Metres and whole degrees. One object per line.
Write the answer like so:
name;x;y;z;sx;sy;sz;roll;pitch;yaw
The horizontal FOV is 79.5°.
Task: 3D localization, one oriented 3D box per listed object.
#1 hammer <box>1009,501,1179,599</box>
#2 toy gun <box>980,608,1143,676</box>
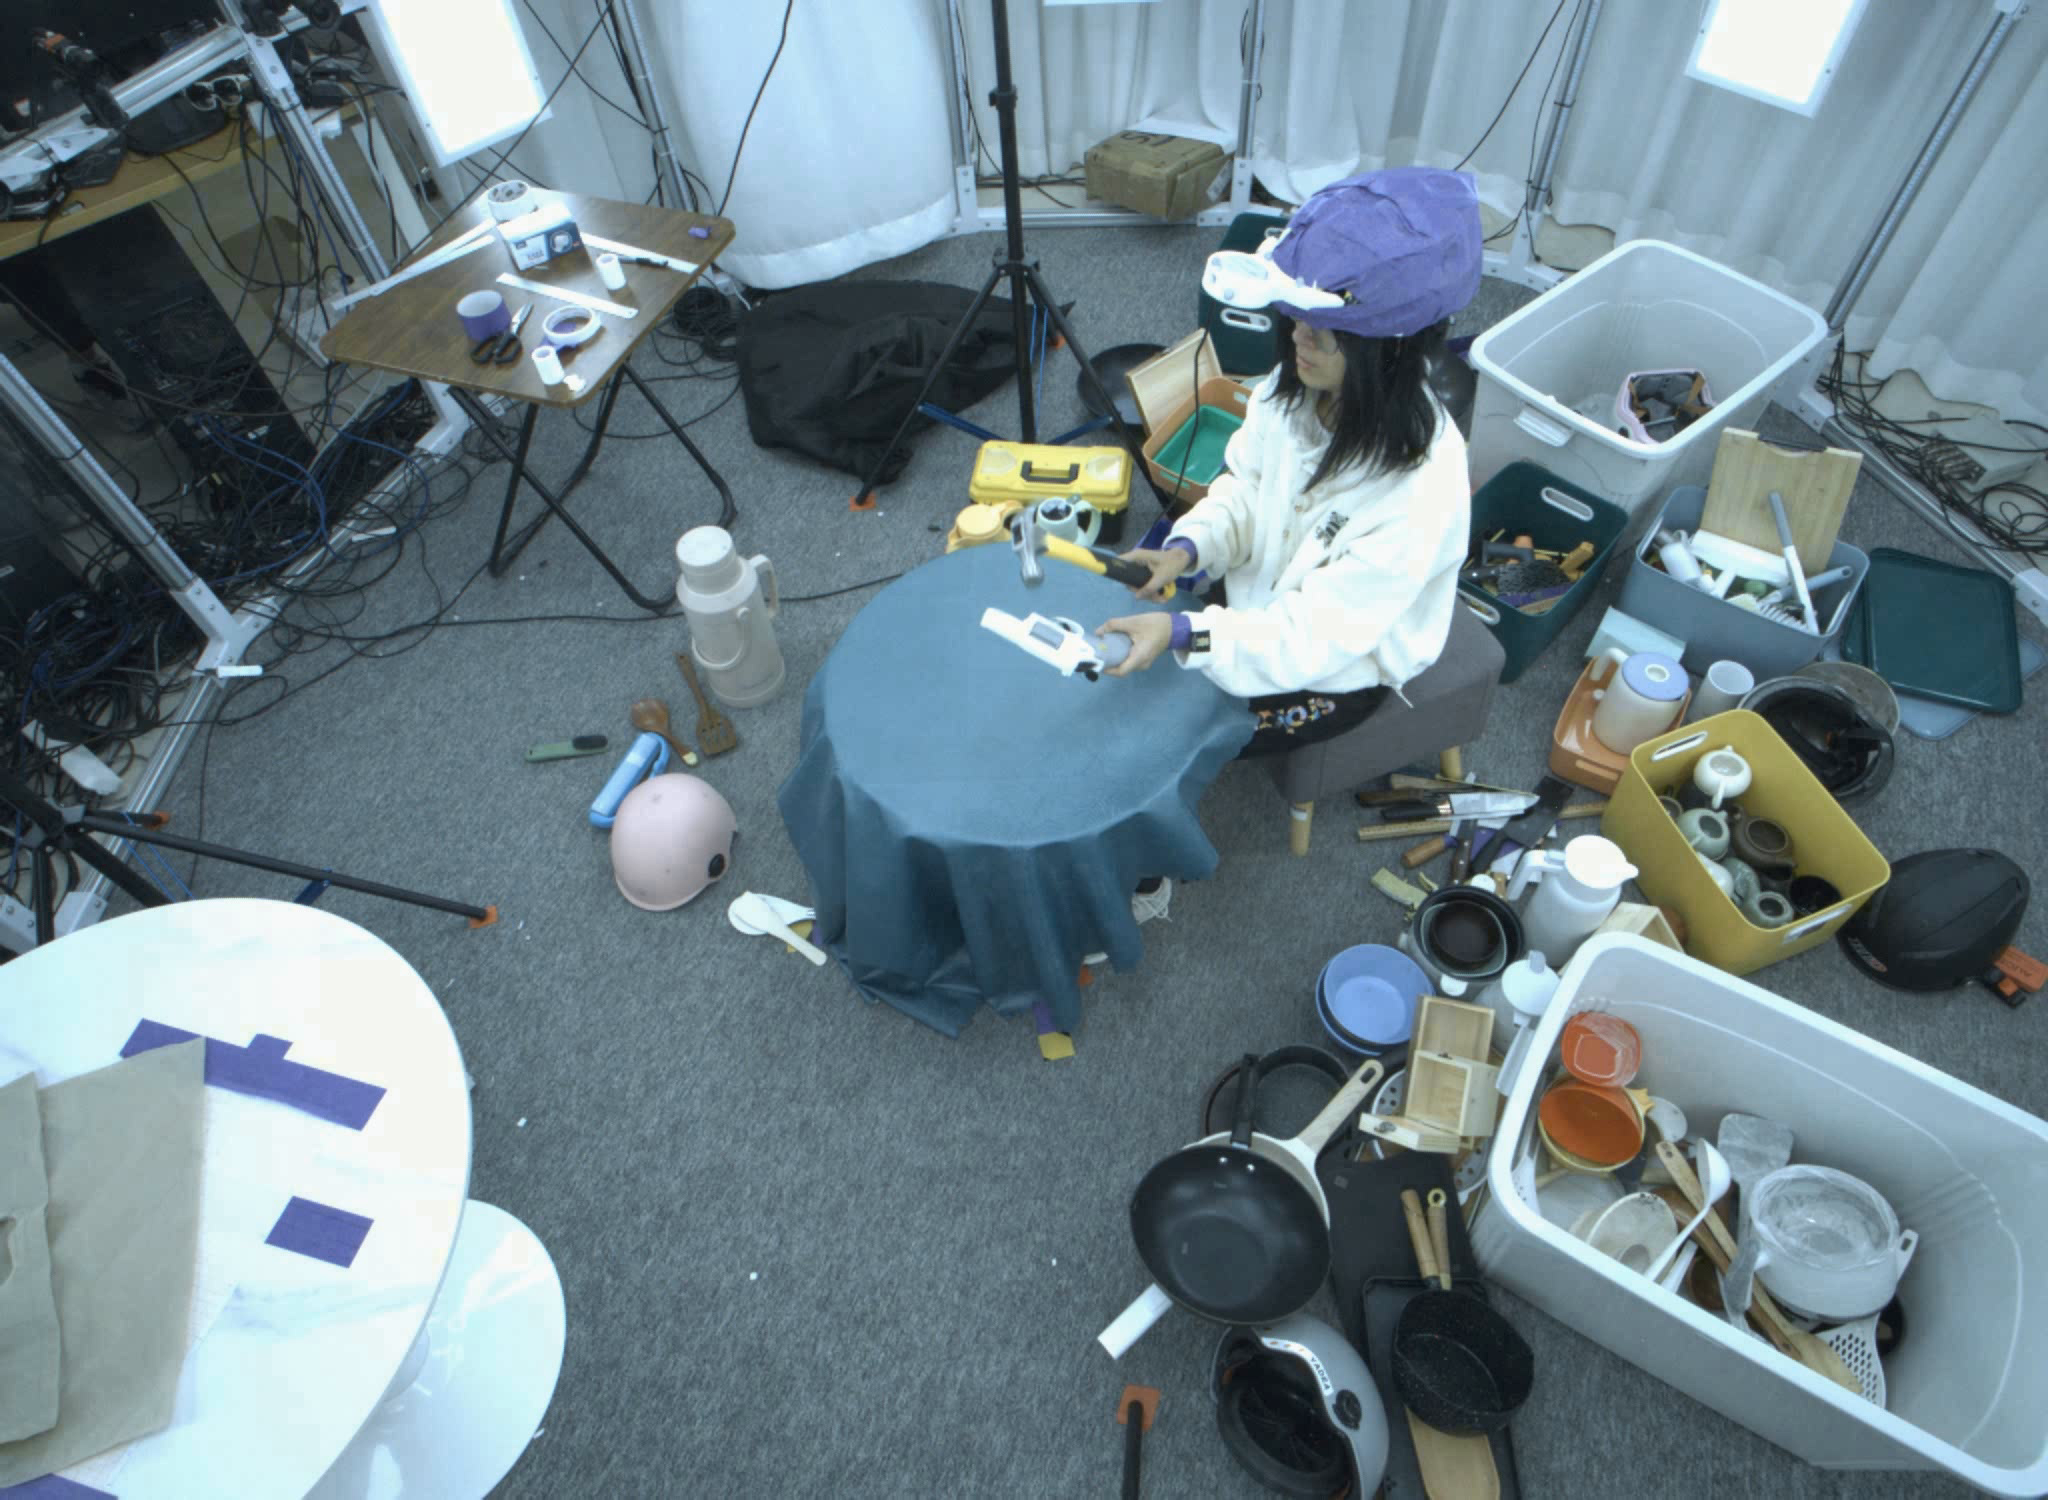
hammer;0.107;-0.261;1.726;0.346;0.032;0.130;7;65;-47
toy gun;0.052;-0.156;1.629;0.210;0.038;0.141;28;42;-6
